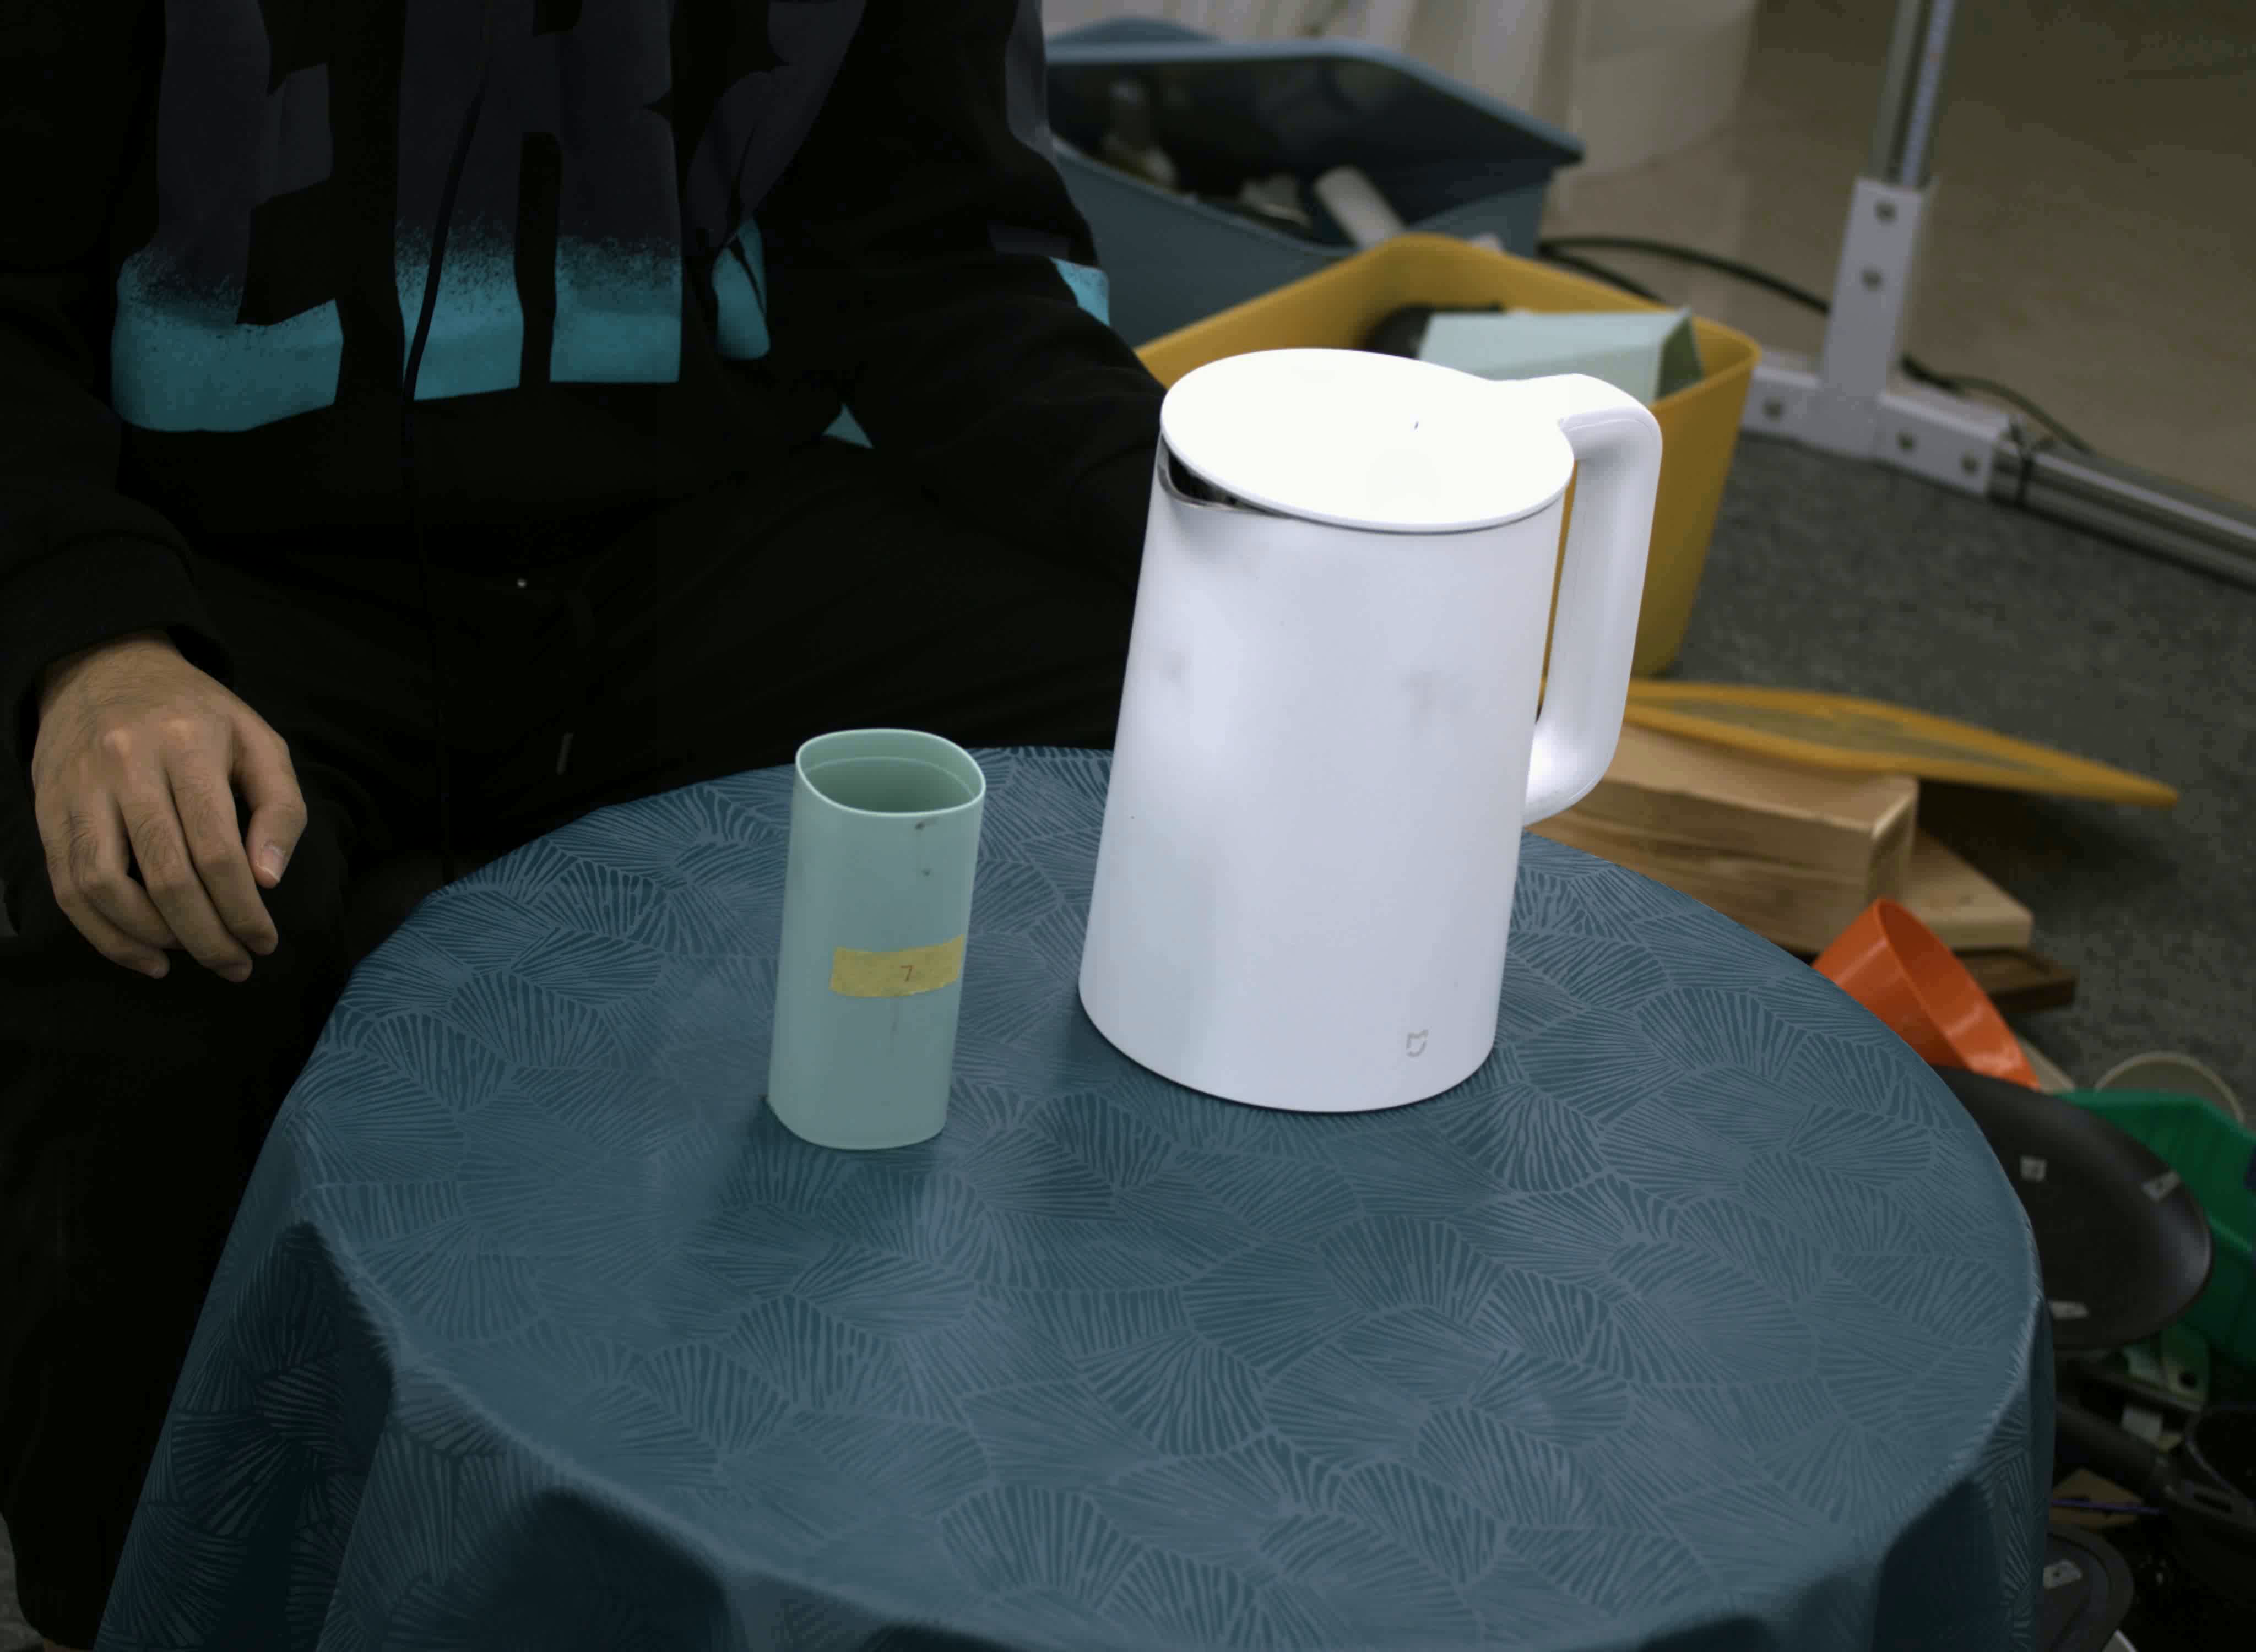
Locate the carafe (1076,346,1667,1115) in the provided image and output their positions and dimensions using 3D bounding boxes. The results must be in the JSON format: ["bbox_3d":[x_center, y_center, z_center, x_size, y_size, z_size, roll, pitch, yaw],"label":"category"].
[{"bbox_3d":[0.091,-0.039,1.884,0.212,0.239,0.153,-13,34,-33],"label":"carafe"}]

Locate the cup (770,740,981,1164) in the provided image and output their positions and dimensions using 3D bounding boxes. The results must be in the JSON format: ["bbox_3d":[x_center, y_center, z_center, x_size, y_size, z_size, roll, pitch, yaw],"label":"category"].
[{"bbox_3d":[-0.087,0.042,1.803,0.066,0.132,0.067,5,28,-3],"label":"cup"}]
